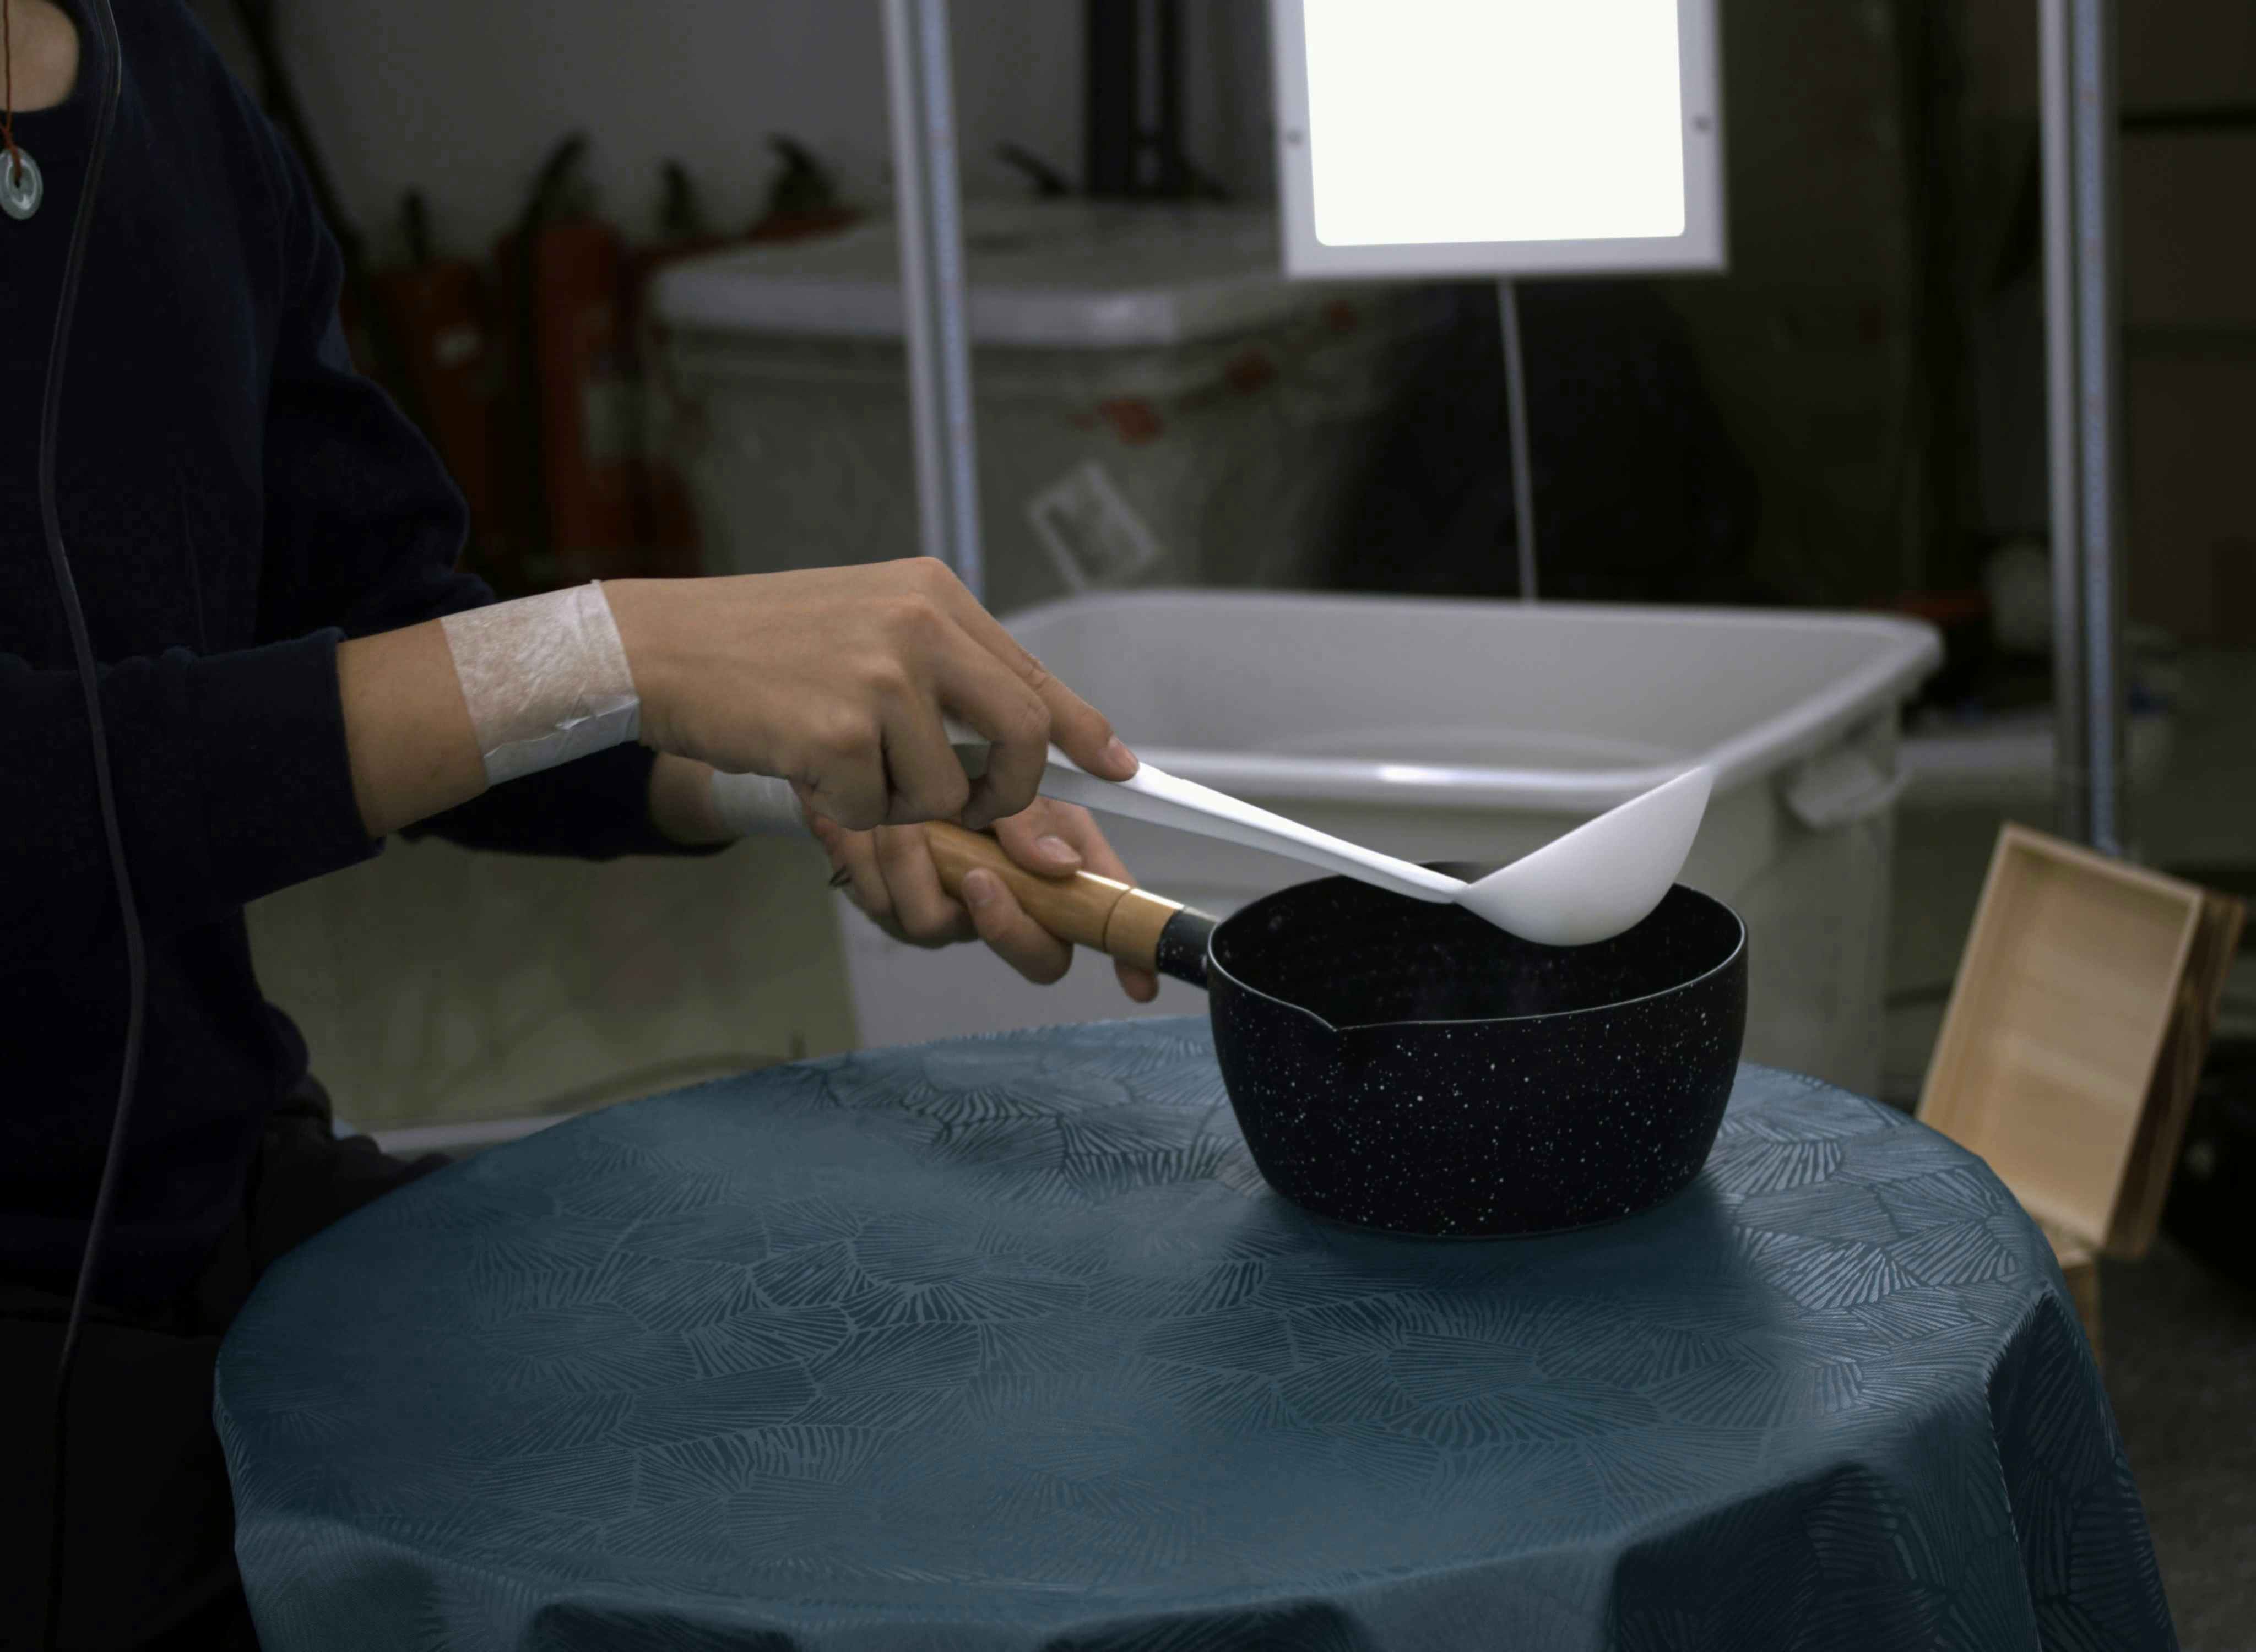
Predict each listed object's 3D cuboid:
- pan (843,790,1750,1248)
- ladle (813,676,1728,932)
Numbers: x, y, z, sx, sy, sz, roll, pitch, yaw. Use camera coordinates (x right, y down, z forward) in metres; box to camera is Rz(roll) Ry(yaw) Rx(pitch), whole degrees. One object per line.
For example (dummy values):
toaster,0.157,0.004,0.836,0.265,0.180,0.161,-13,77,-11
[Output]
pan,0.049,0.059,1.904,0.349,0.109,0.203,7,20,29
ladle,0.047,-0.020,1.729,0.289,0.070,0.091,12,-10,-13
